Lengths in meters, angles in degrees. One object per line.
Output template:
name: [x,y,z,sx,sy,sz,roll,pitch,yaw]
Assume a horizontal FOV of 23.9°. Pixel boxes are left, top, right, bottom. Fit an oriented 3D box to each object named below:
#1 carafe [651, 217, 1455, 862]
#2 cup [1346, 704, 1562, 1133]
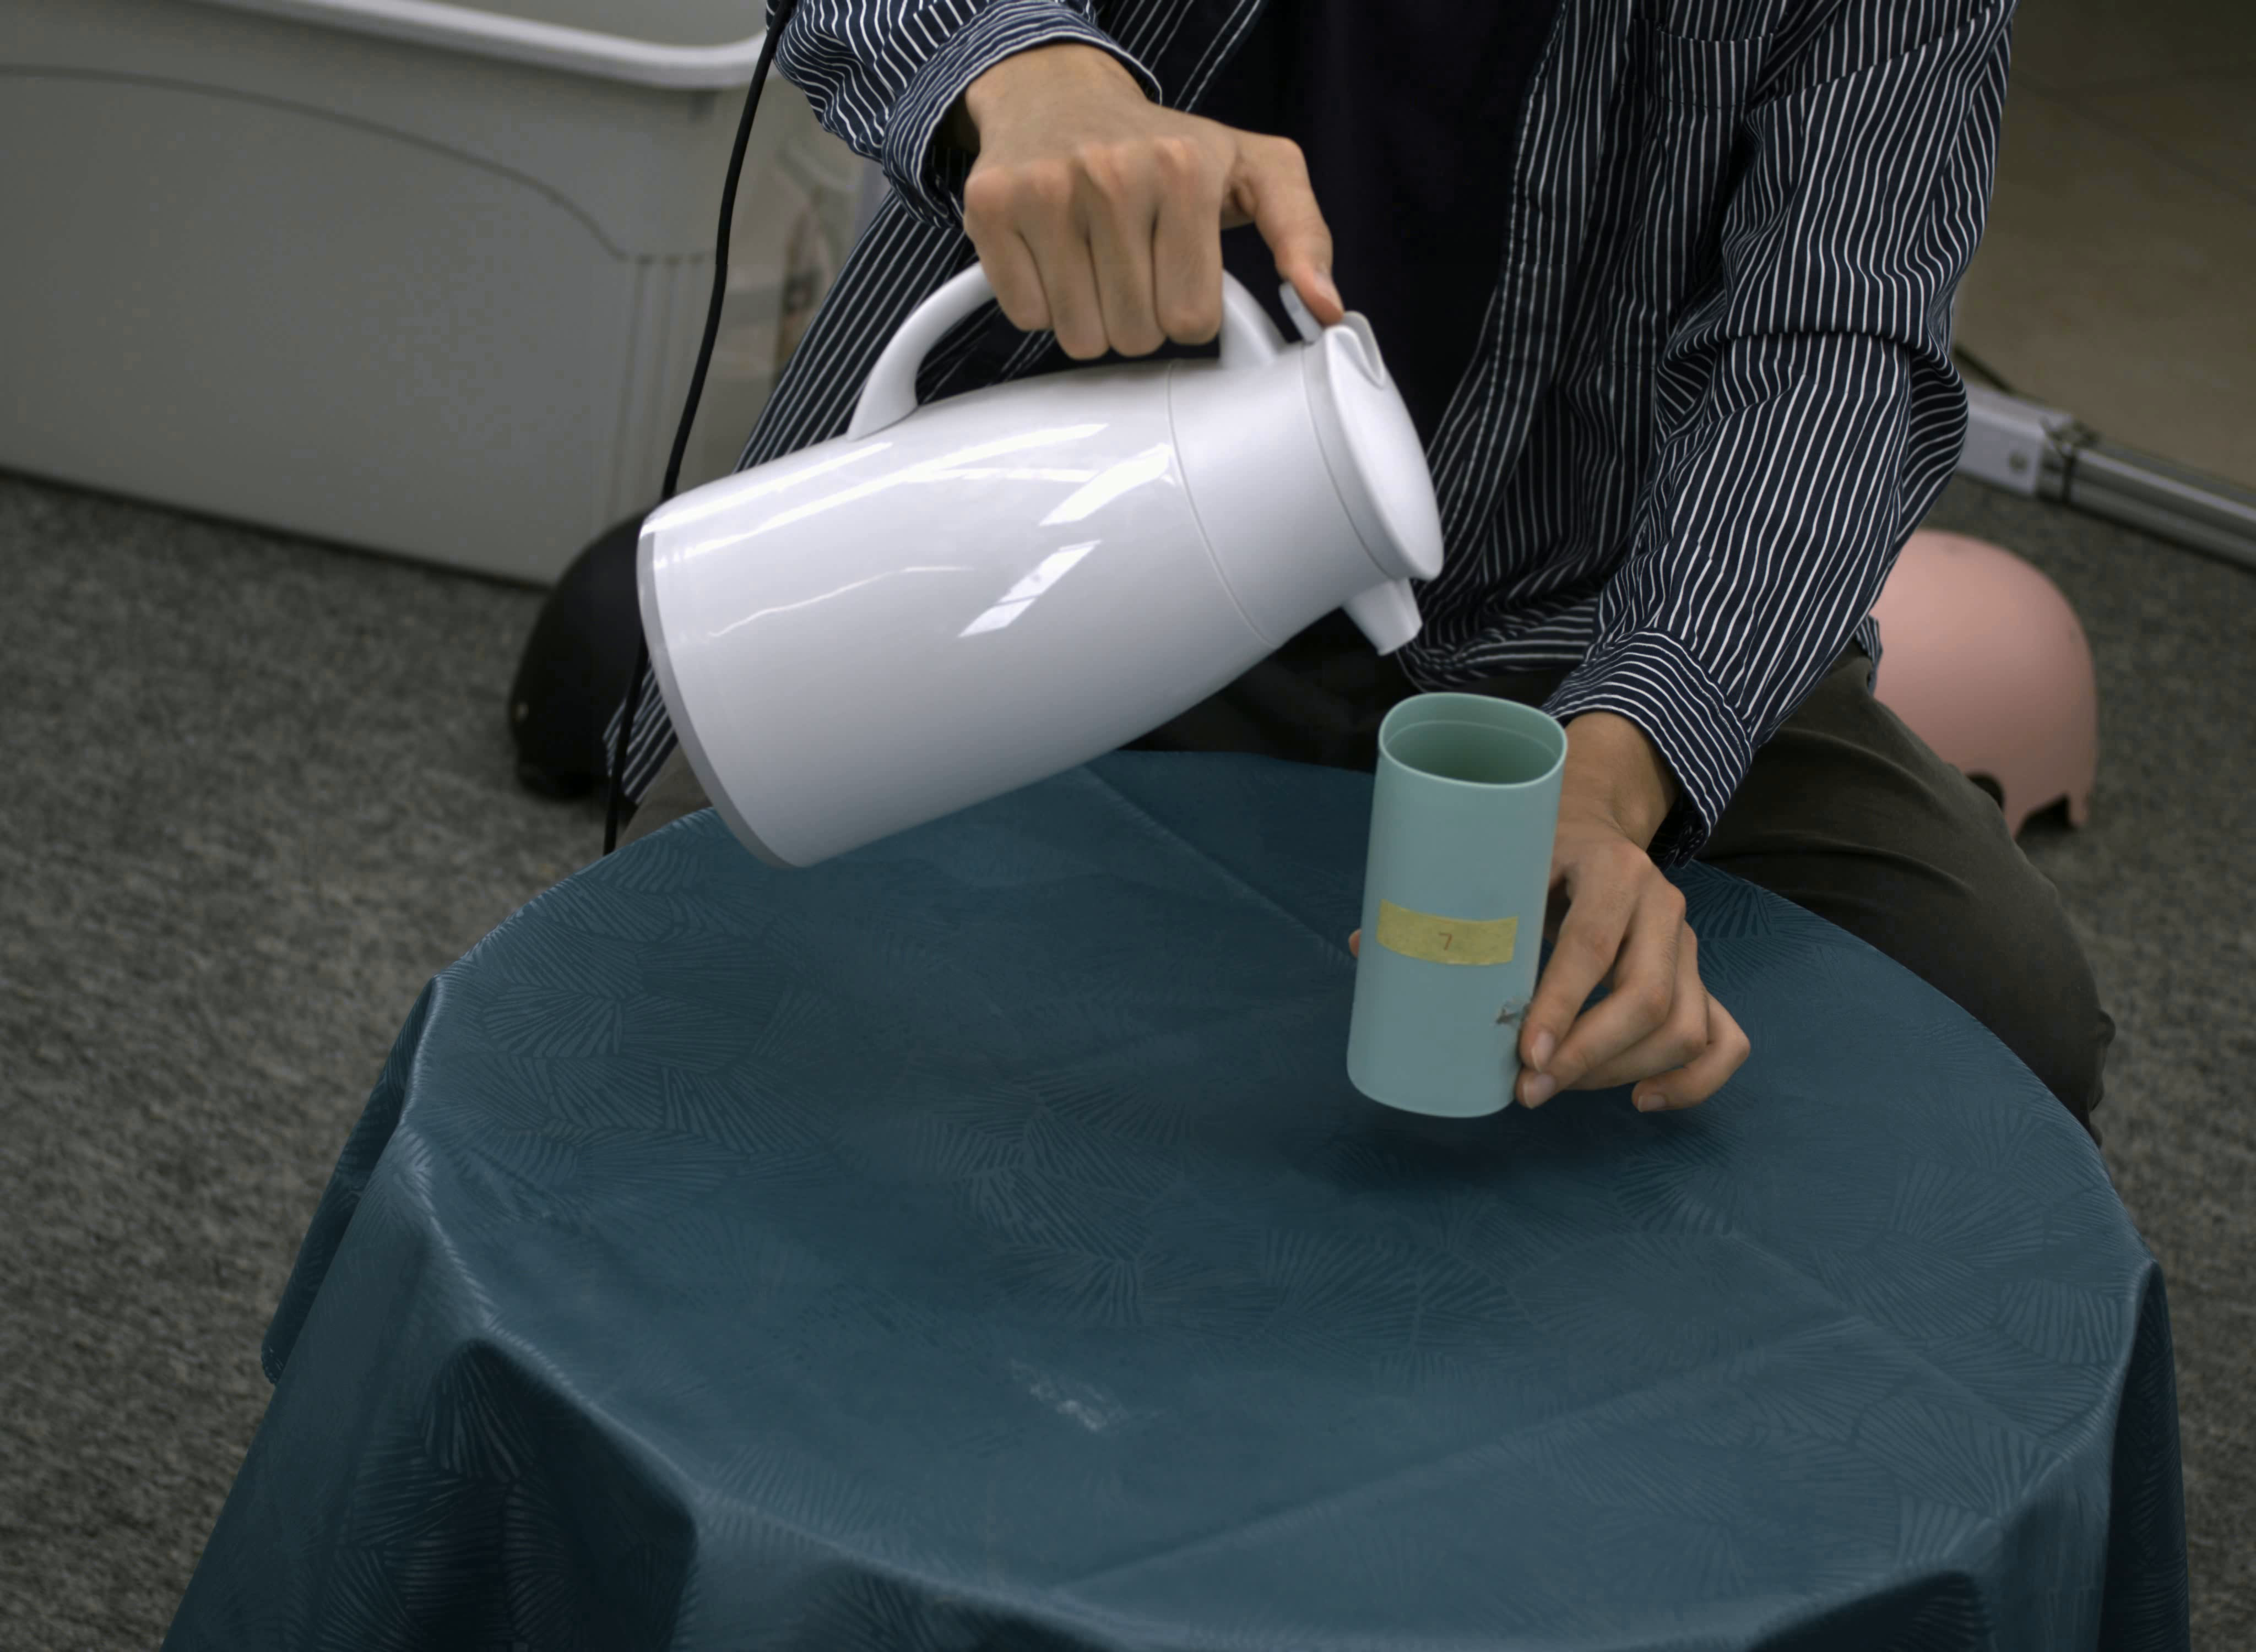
carafe: [-0.026,-0.106,1.742,0.248,0.167,0.133,-20,13,17]
cup: [0.109,0.030,1.796,0.066,0.132,0.067,3,28,-2]
